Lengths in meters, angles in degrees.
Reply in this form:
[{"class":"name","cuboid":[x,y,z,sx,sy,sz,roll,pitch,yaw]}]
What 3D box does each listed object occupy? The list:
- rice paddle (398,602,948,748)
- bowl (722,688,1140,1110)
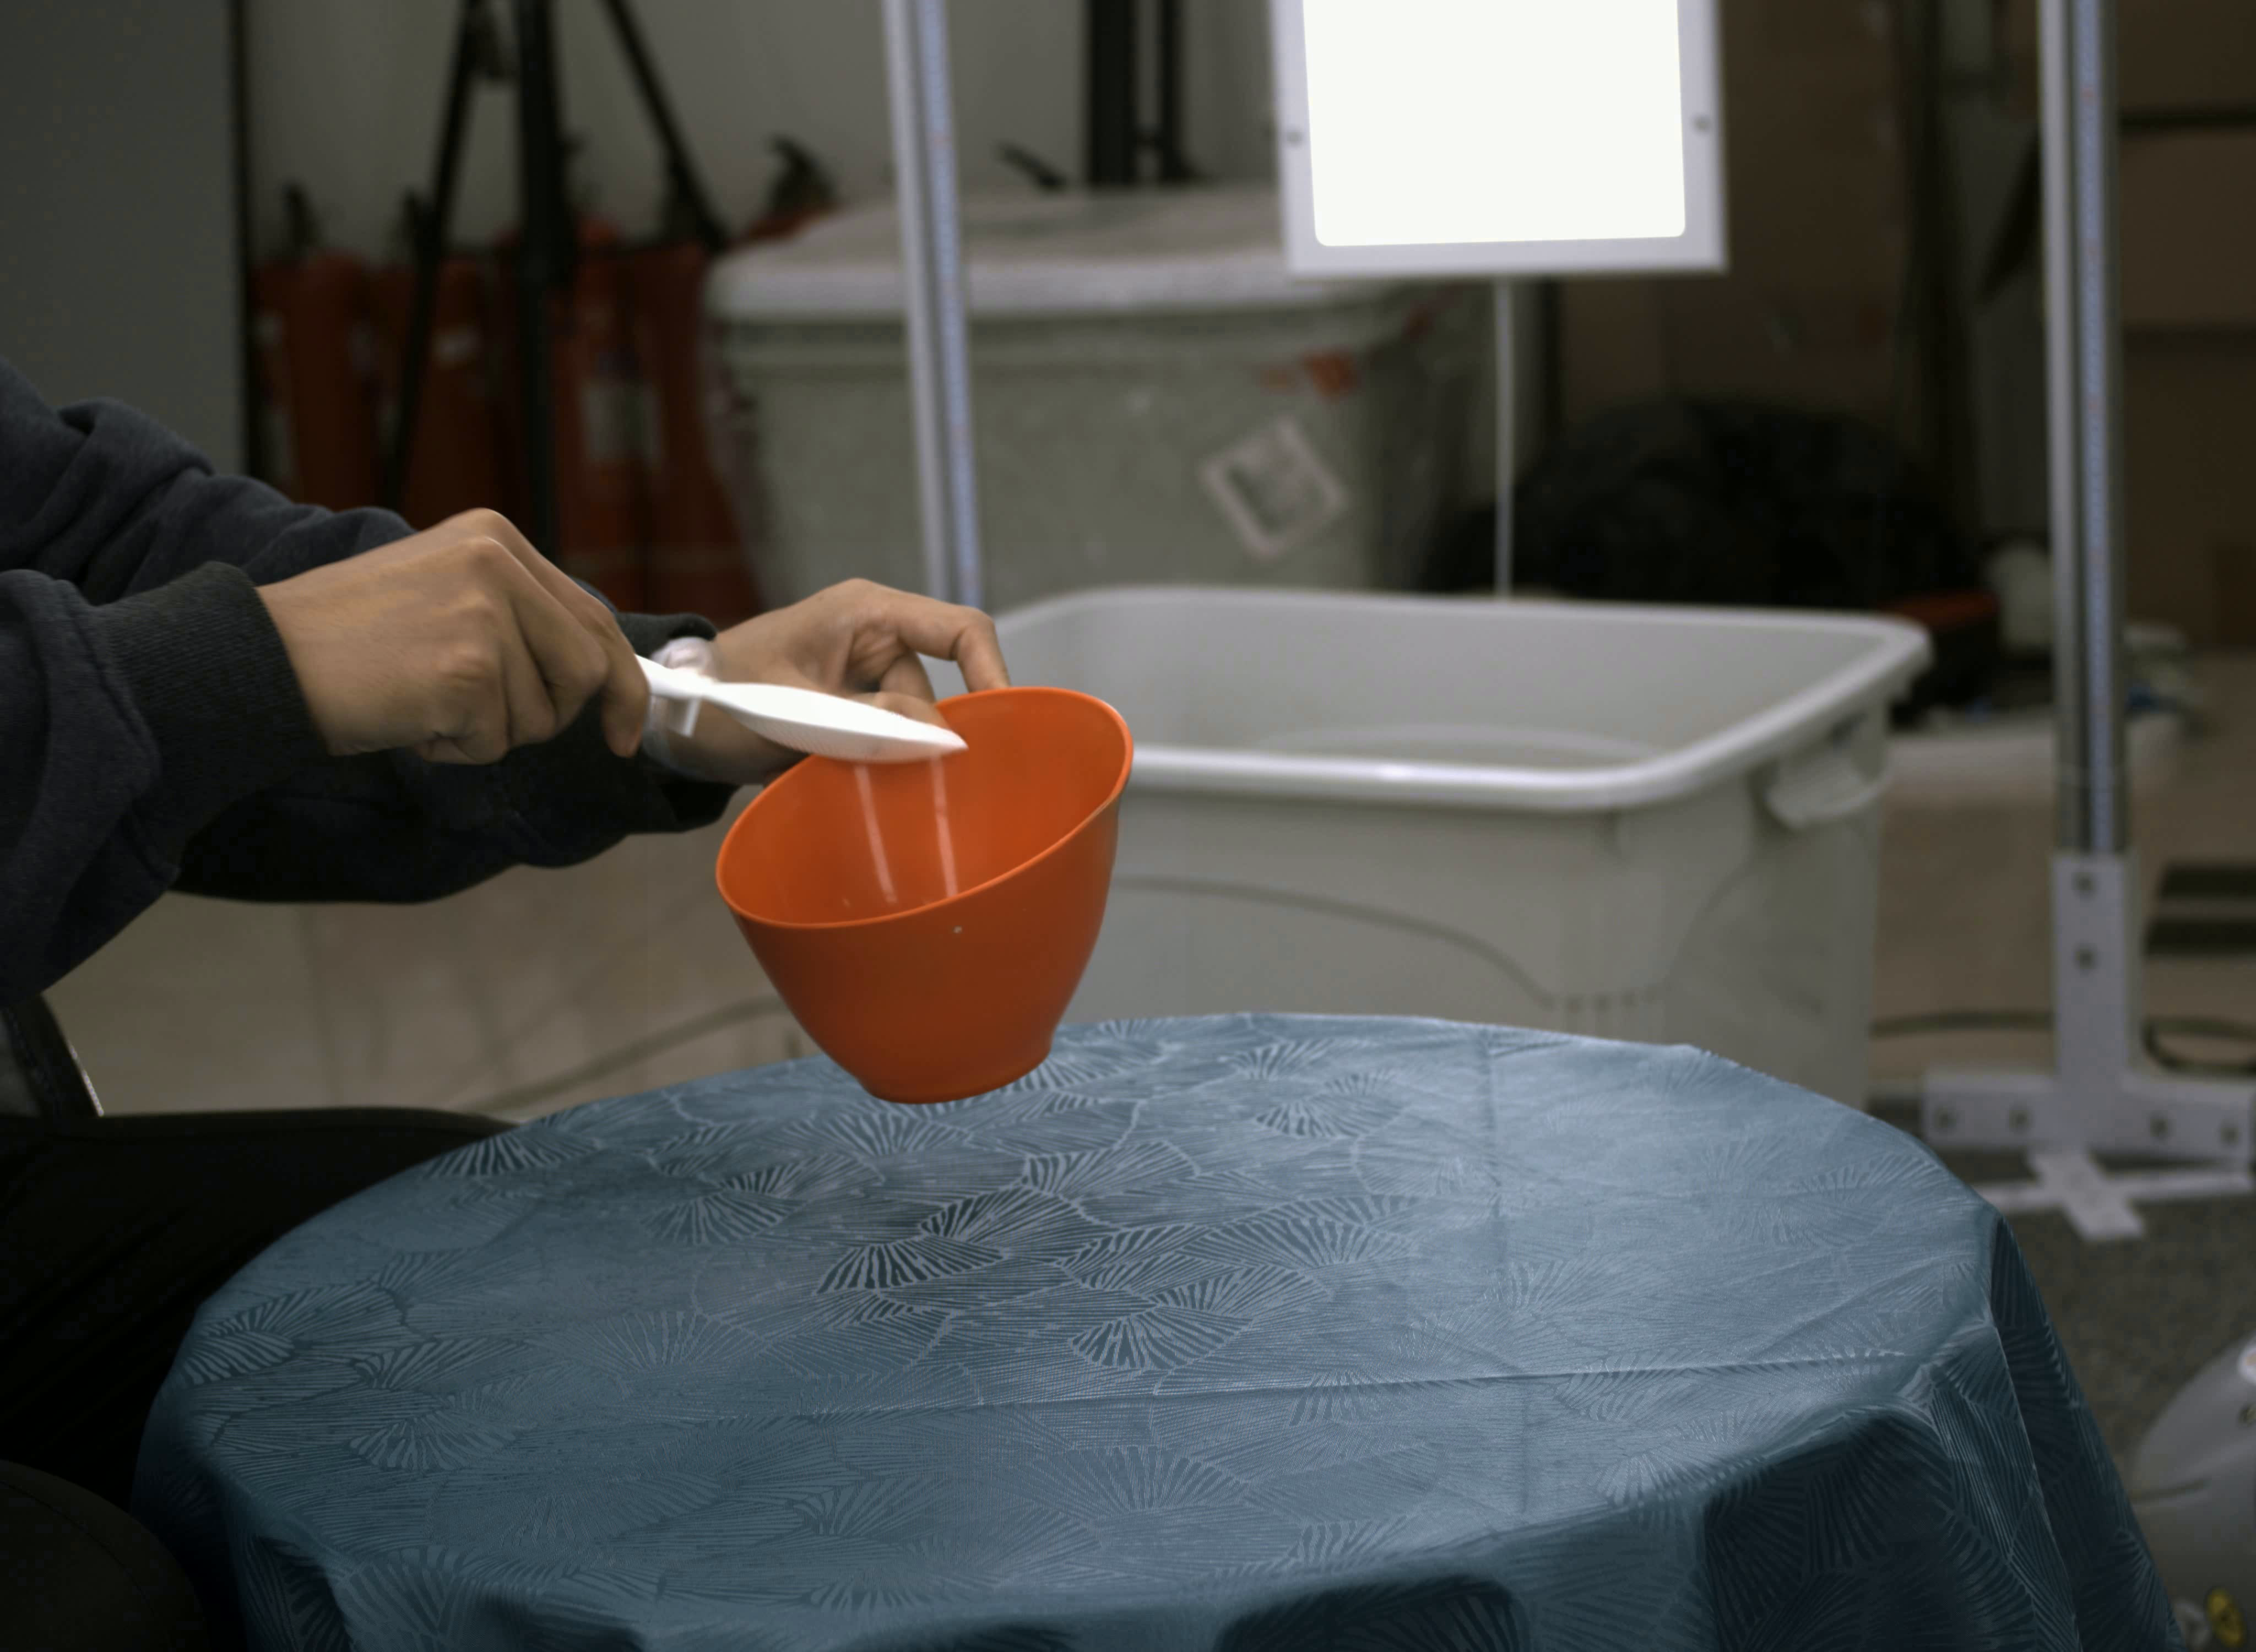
[{"class":"rice paddle","cuboid":[-0.143,-0.047,1.791,0.200,0.029,0.070,7,12,-38]},{"class":"bowl","cuboid":[-0.058,0.031,1.863,0.148,0.105,0.148,-12,22,3]}]
